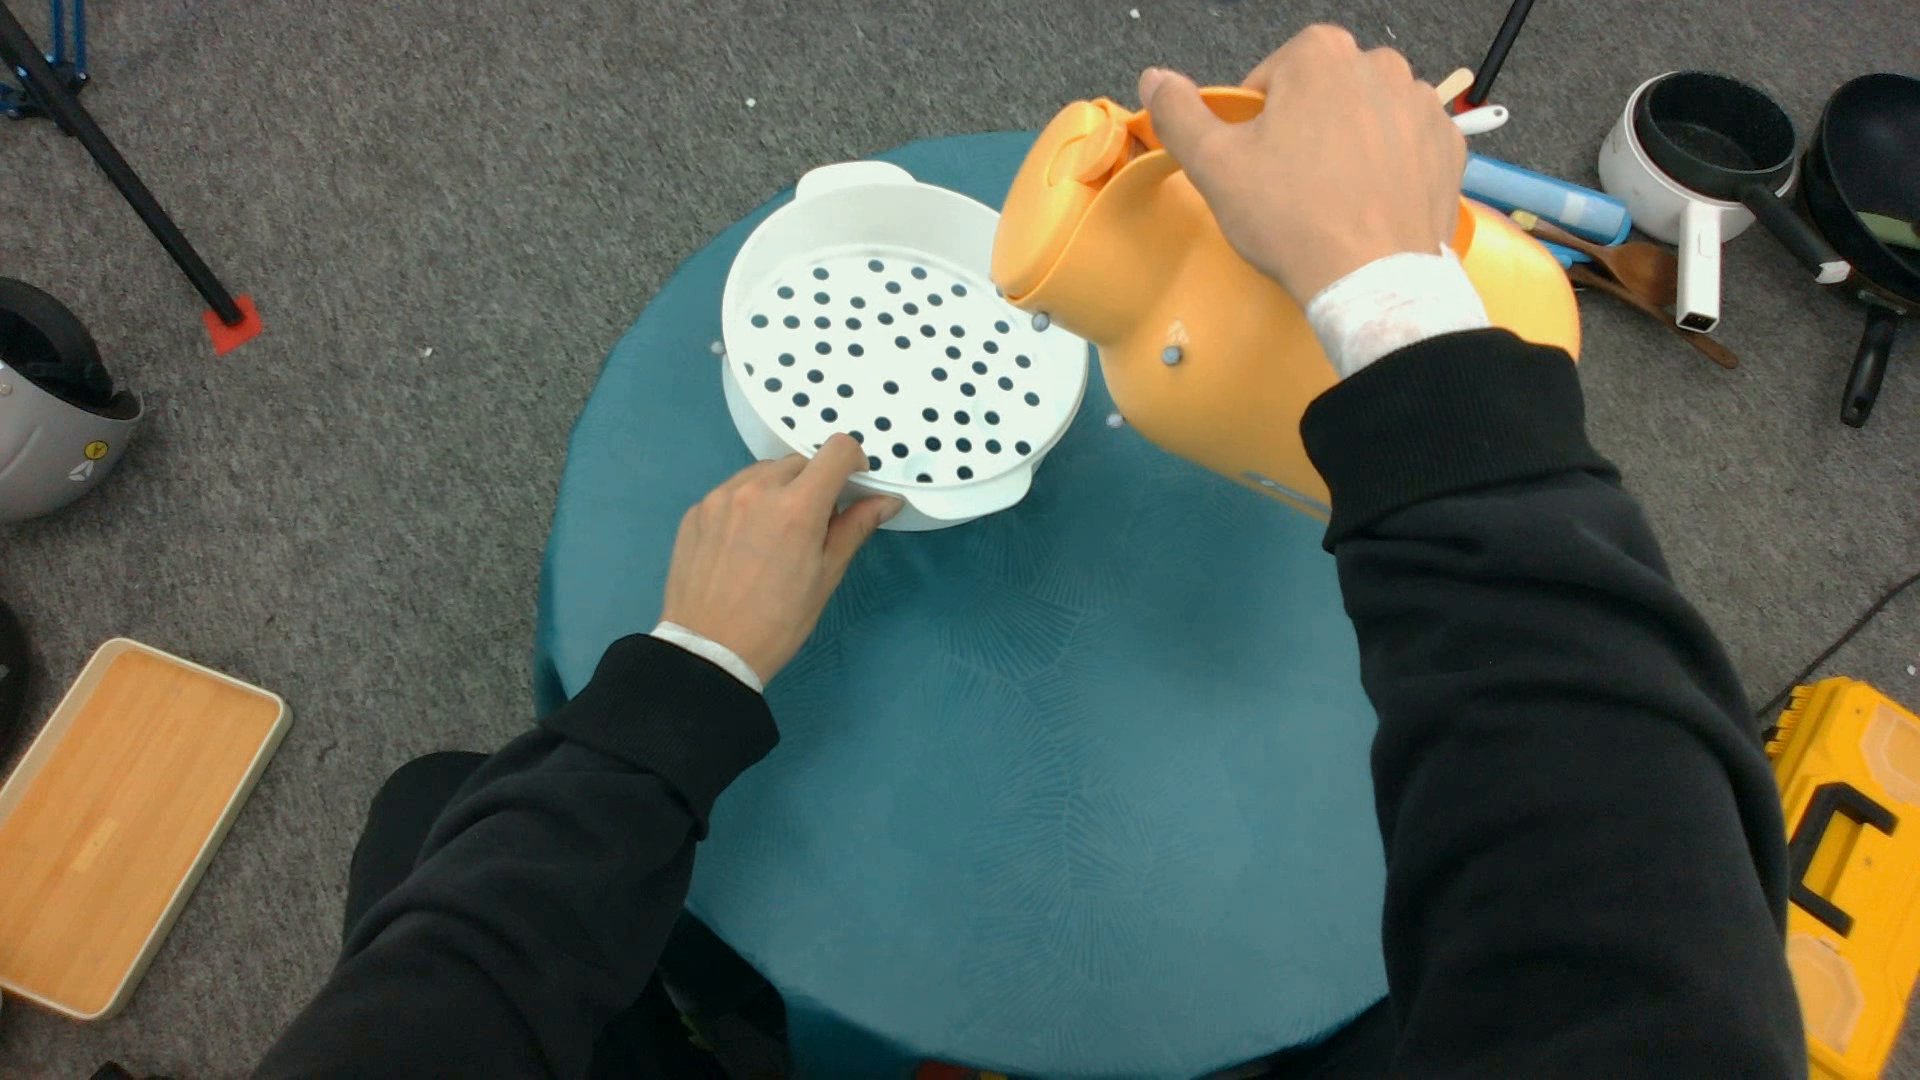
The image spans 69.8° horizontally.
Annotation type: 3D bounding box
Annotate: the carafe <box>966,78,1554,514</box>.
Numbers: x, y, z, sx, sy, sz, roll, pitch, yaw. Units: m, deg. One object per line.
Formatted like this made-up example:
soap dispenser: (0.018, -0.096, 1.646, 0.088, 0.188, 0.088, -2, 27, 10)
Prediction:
carafe: (0.139, -0.121, 0.627, 0.260, 0.202, 0.164, 18, 78, -18)

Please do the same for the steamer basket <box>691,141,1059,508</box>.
steamer basket: (-0.049, -0.114, 0.766, 0.202, 0.069, 0.231, -13, 68, -22)
